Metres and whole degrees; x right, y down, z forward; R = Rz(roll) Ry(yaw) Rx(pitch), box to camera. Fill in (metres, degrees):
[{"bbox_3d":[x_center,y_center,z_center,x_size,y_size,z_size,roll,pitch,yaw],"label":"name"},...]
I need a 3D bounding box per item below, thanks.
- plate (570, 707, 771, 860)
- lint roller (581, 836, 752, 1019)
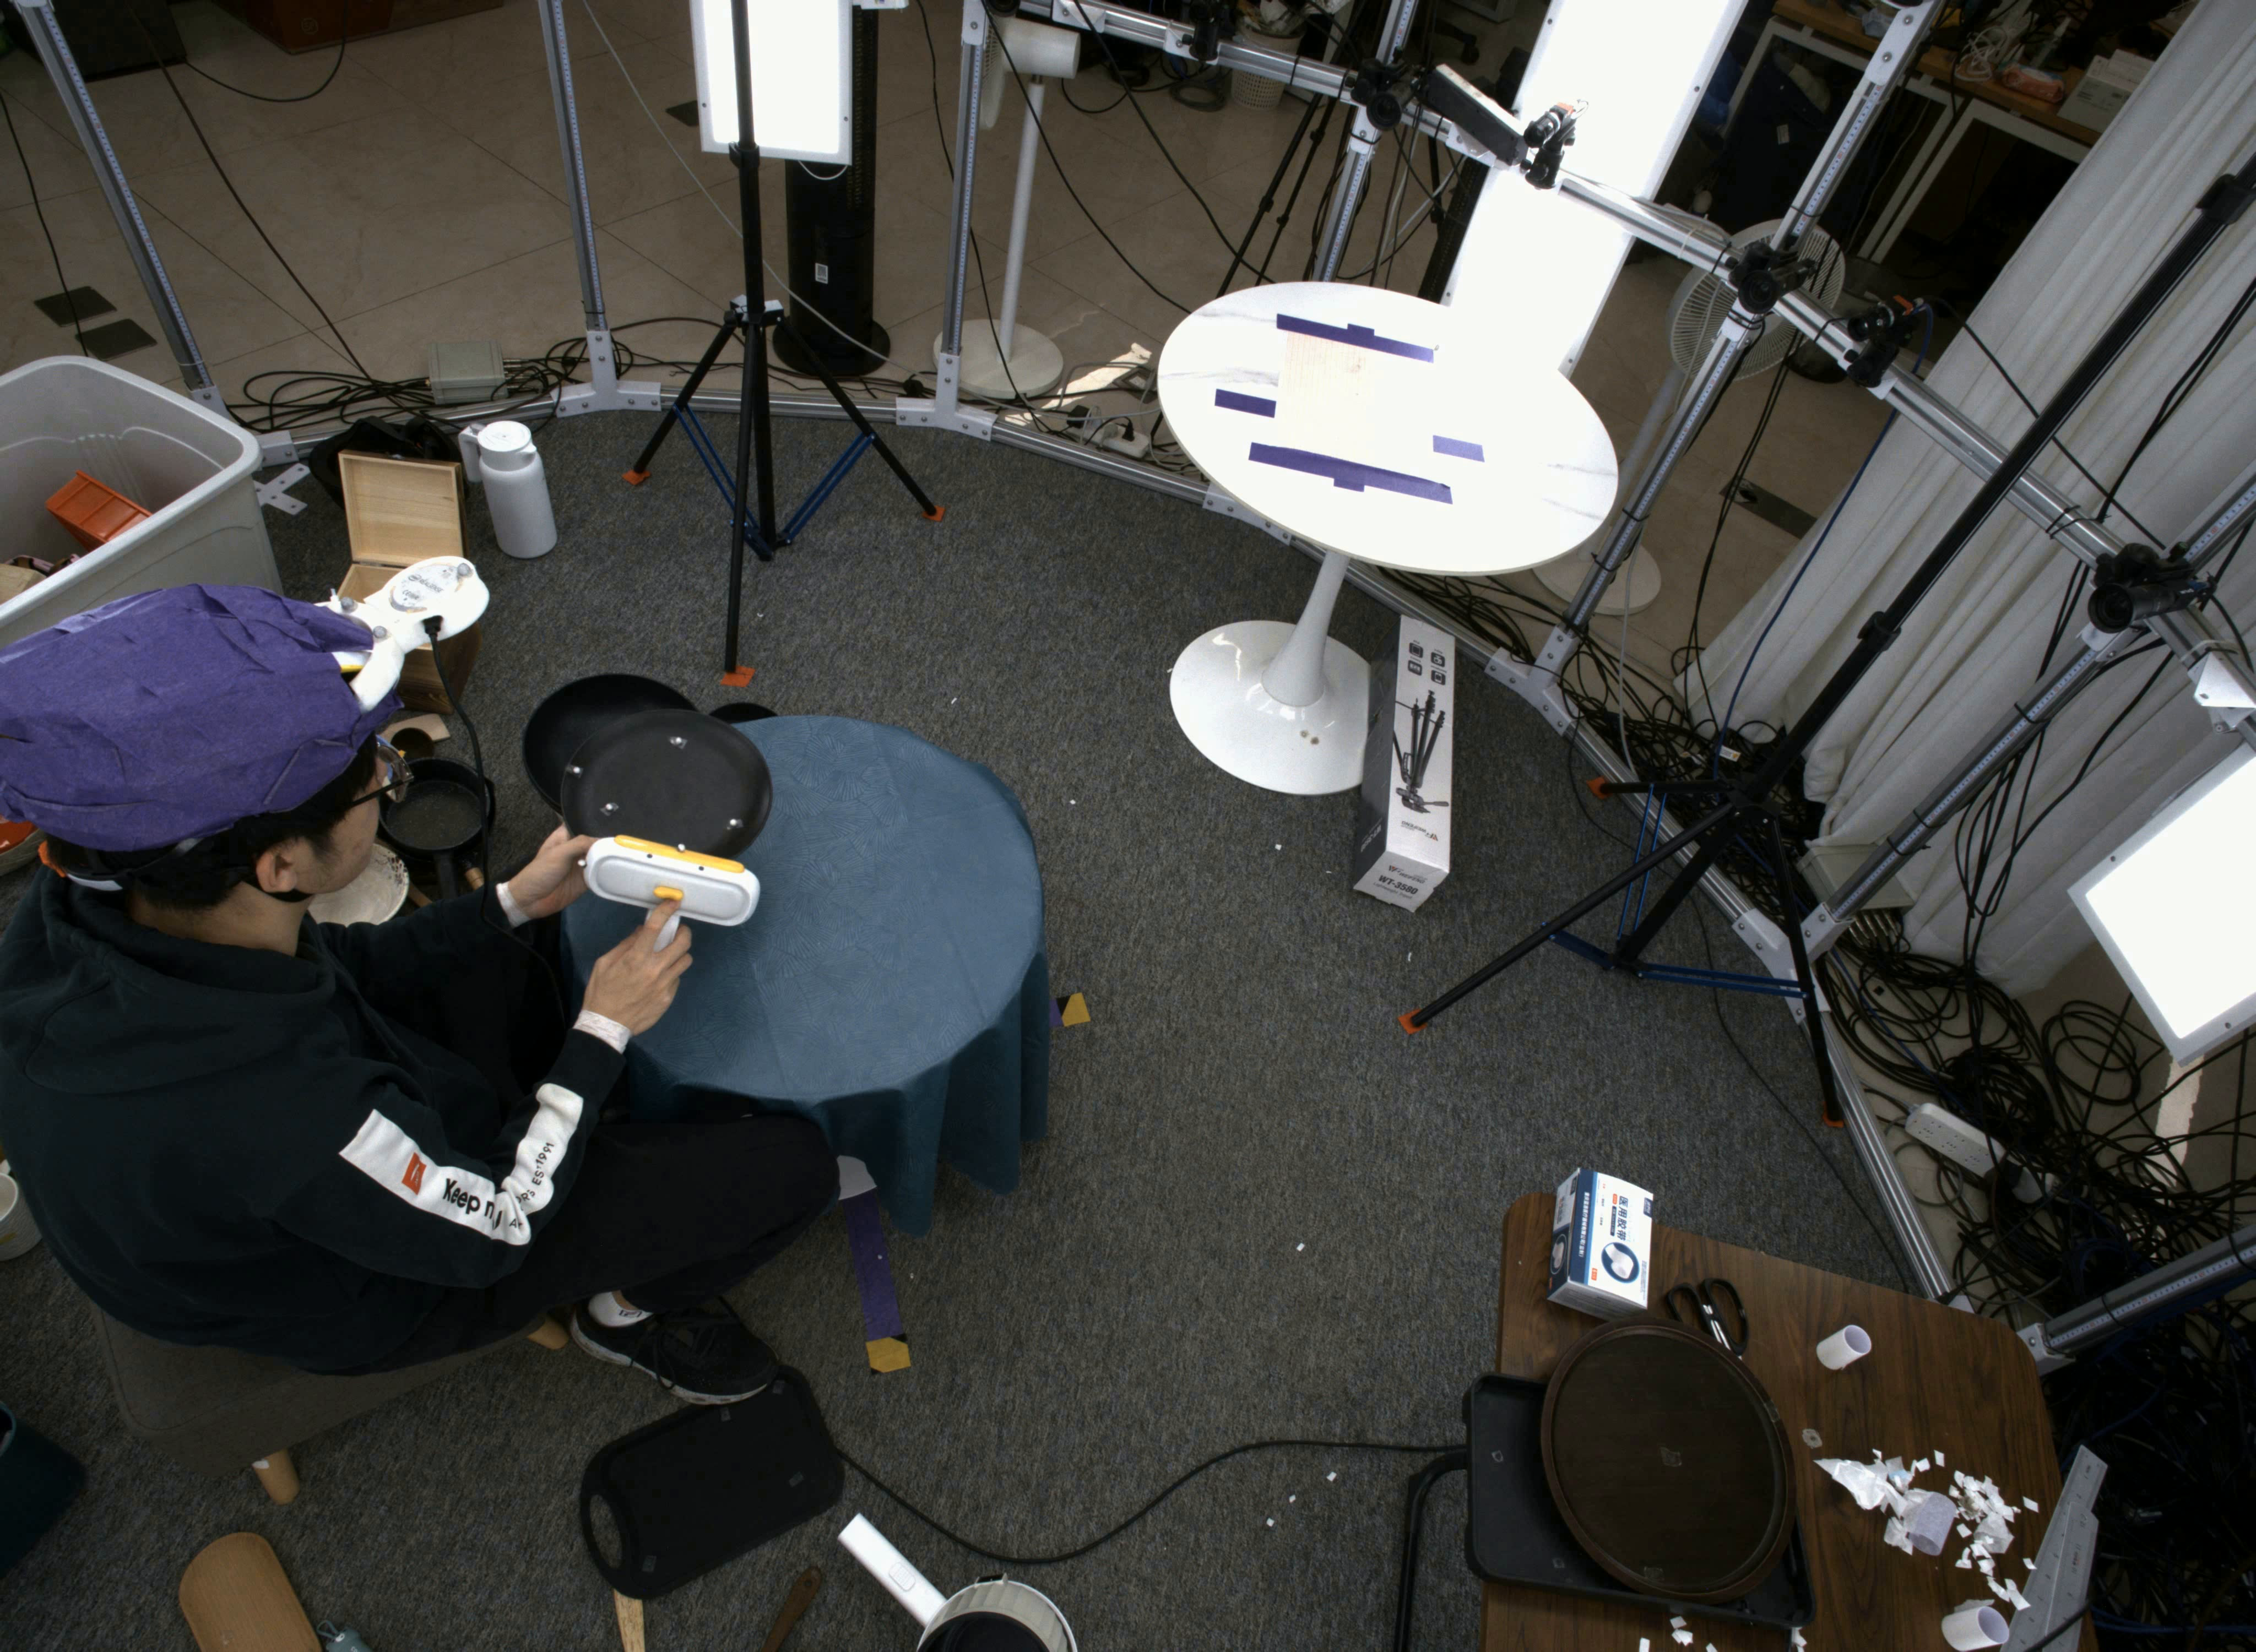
[{"bbox_3d":[-0.549,-0.039,1.533,0.245,0.024,0.241,9,58,-12],"label":"plate"},{"bbox_3d":[-0.532,0.116,1.451,0.196,0.196,0.072,9,12,-26],"label":"lint roller"}]
